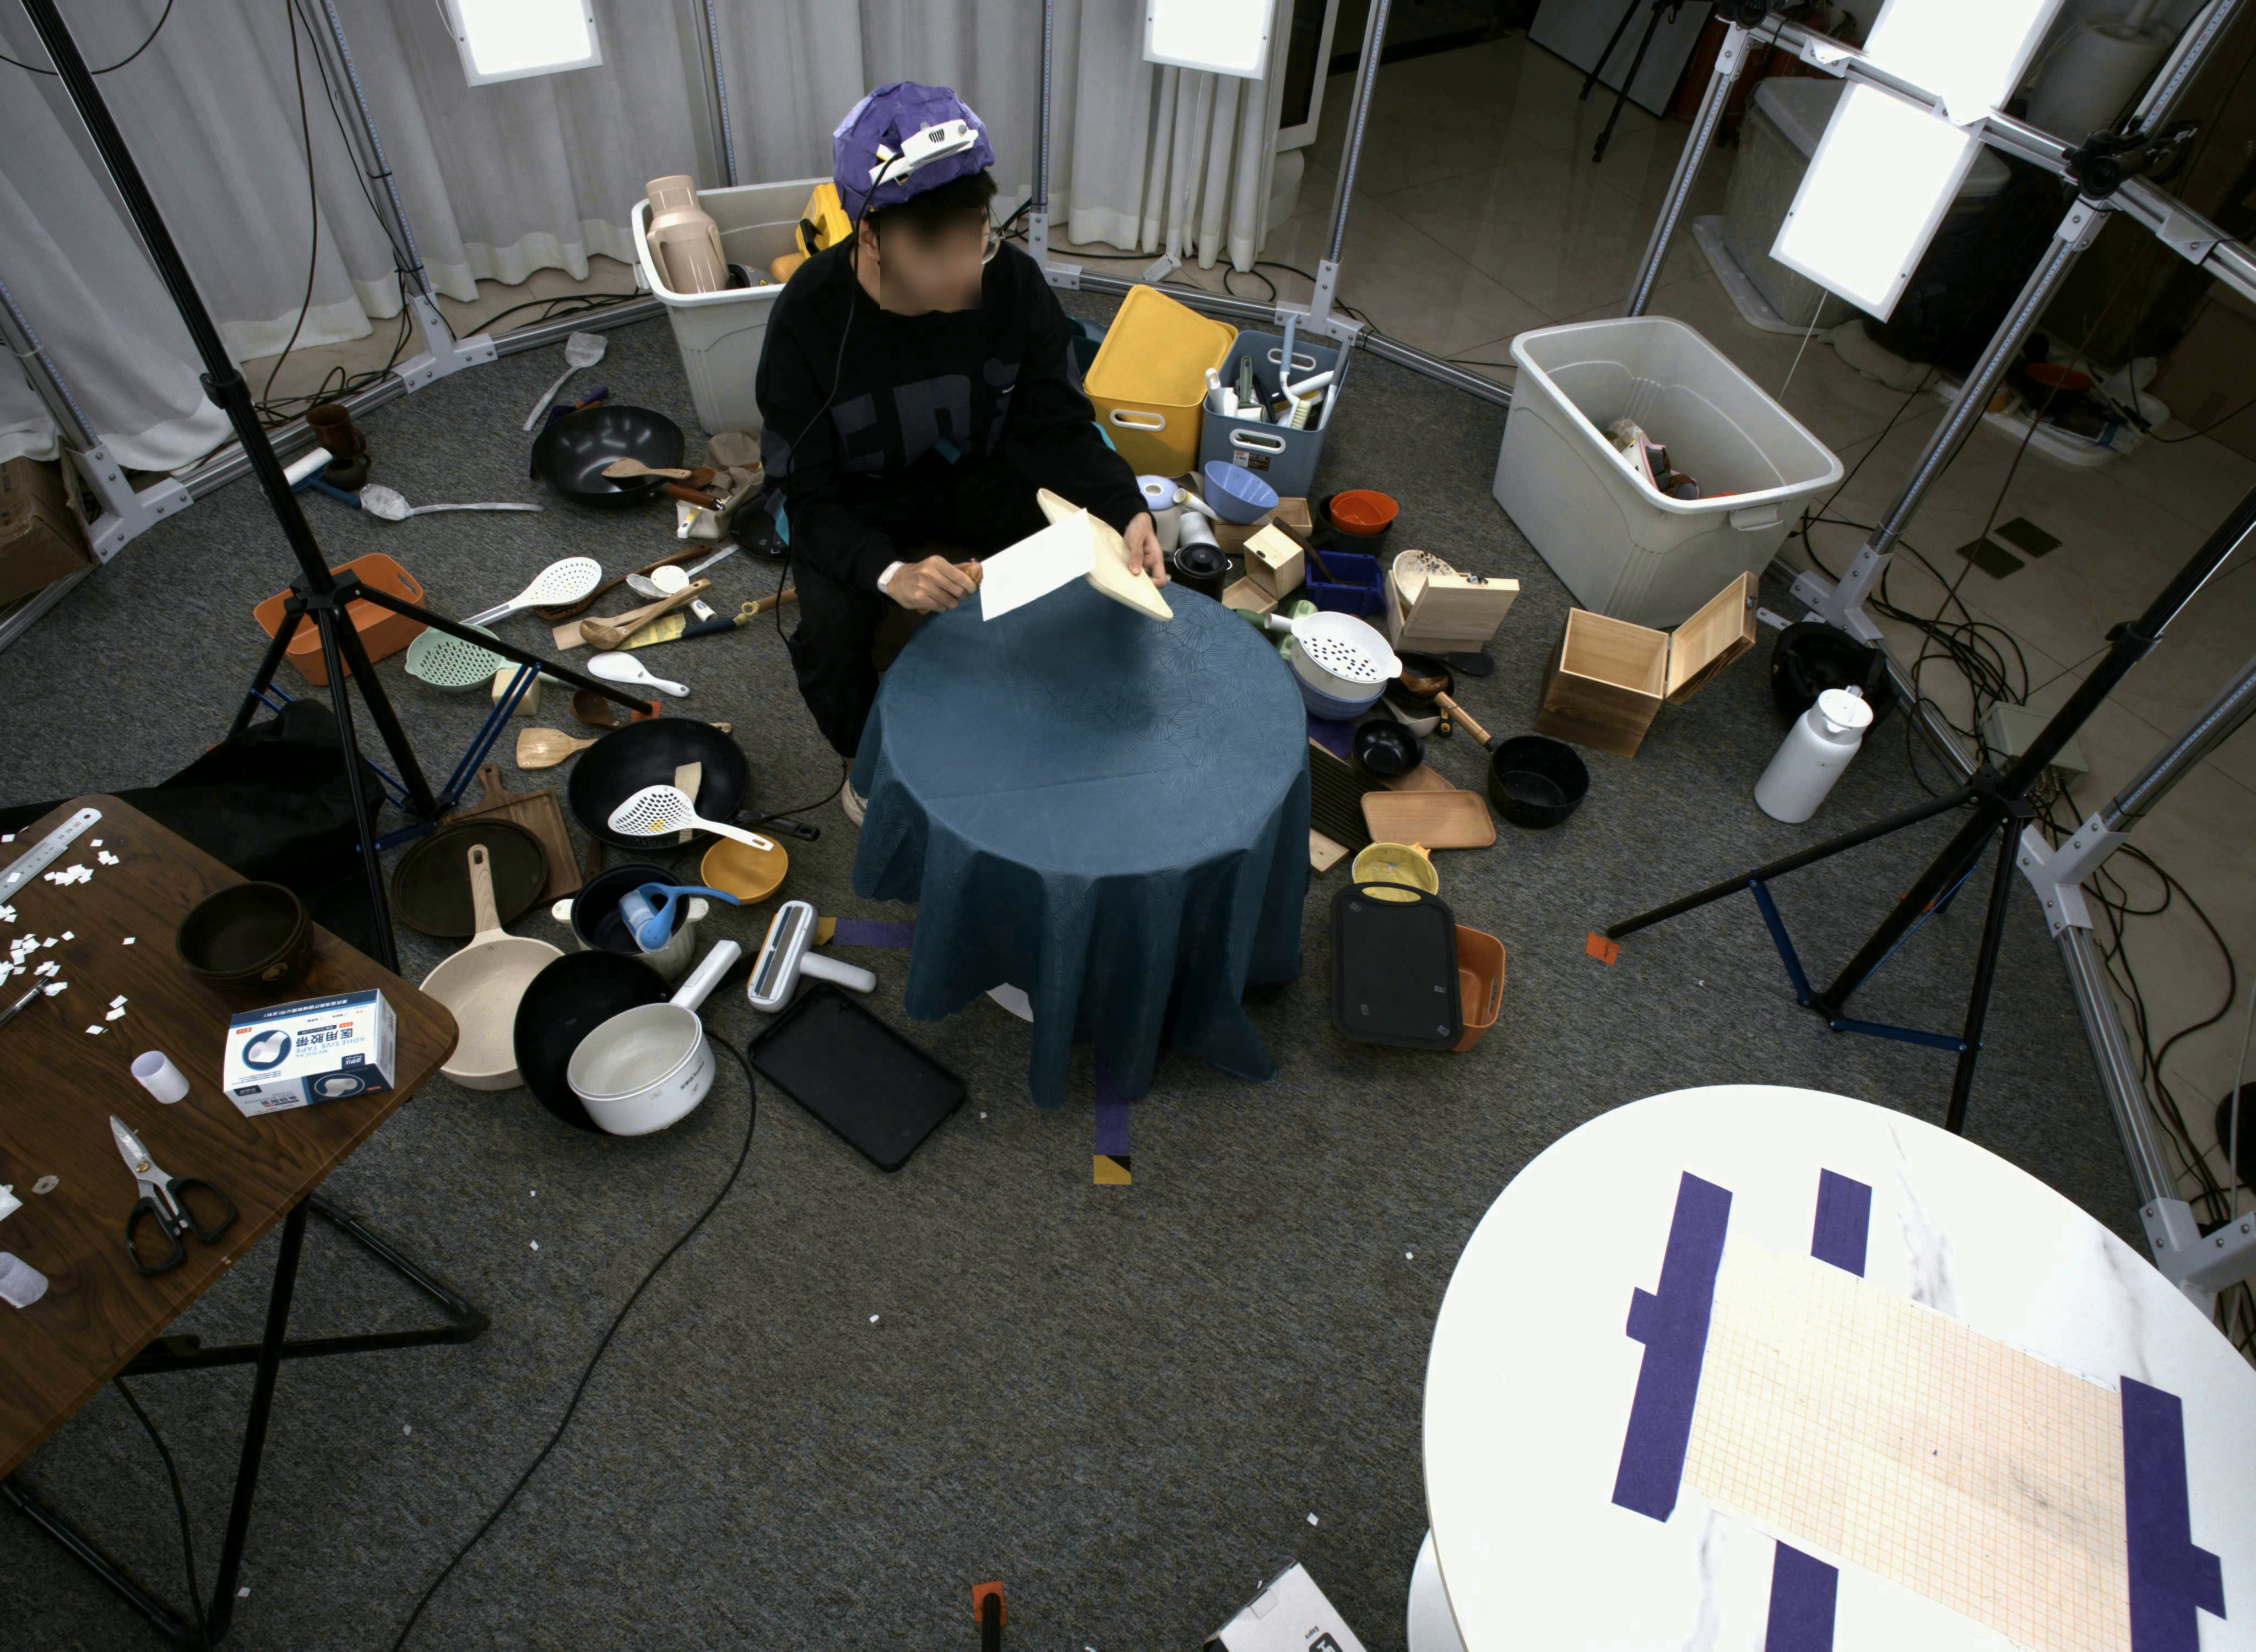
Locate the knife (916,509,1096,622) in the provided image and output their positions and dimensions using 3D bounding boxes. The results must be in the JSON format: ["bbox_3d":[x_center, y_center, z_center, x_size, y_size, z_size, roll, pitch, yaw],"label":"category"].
[{"bbox_3d":[-0.167,-0.329,1.736,0.304,0.021,0.094,-20,67,30],"label":"knife"}]

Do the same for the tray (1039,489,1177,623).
[{"bbox_3d":[-0.031,-0.375,1.797,0.169,0.017,0.245,18,32,-42],"label":"tray"}]
